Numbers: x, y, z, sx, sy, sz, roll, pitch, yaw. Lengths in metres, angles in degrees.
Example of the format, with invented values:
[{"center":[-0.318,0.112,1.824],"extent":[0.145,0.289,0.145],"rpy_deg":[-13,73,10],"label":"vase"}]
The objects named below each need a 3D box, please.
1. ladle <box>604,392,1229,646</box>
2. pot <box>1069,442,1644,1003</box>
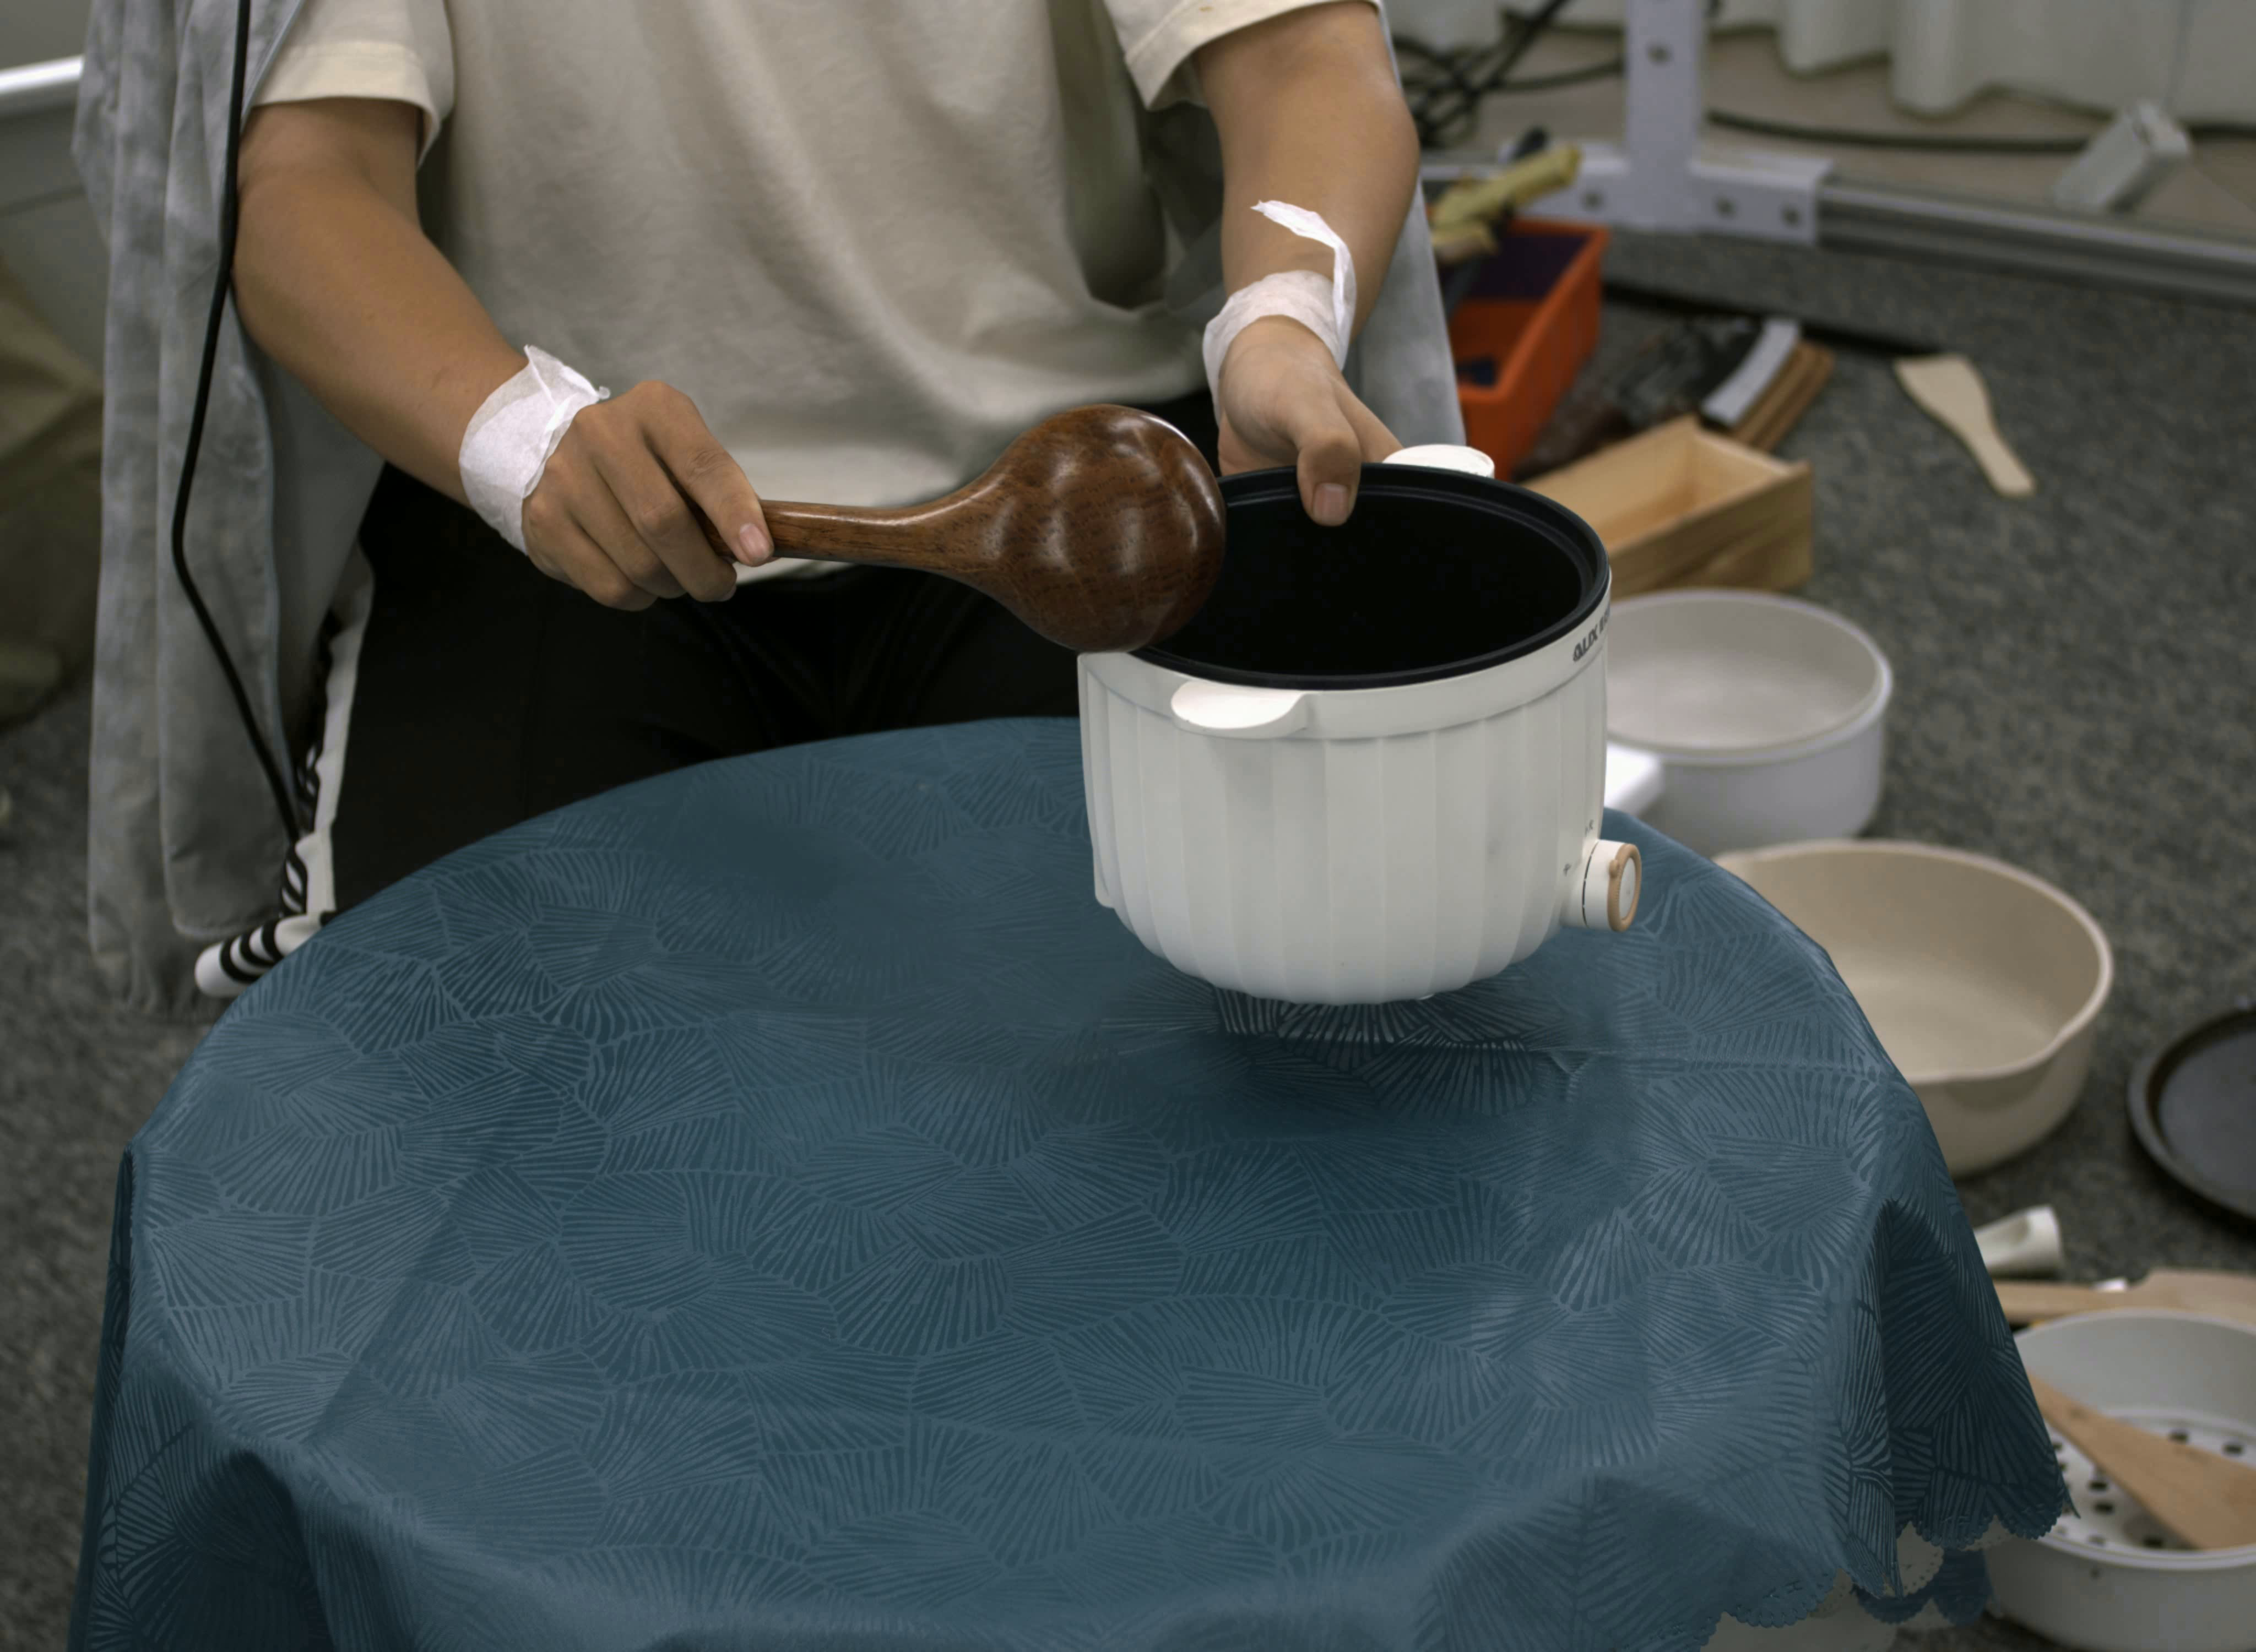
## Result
[{"center":[-0.073,-0.102,1.901],"extent":[0.077,0.082,0.272],"rpy_deg":[-2,3,-38],"label":"ladle"},{"center":[0.078,-0.028,1.907],"extent":[0.189,0.141,0.244],"rpy_deg":[4,27,21],"label":"pot"}]
